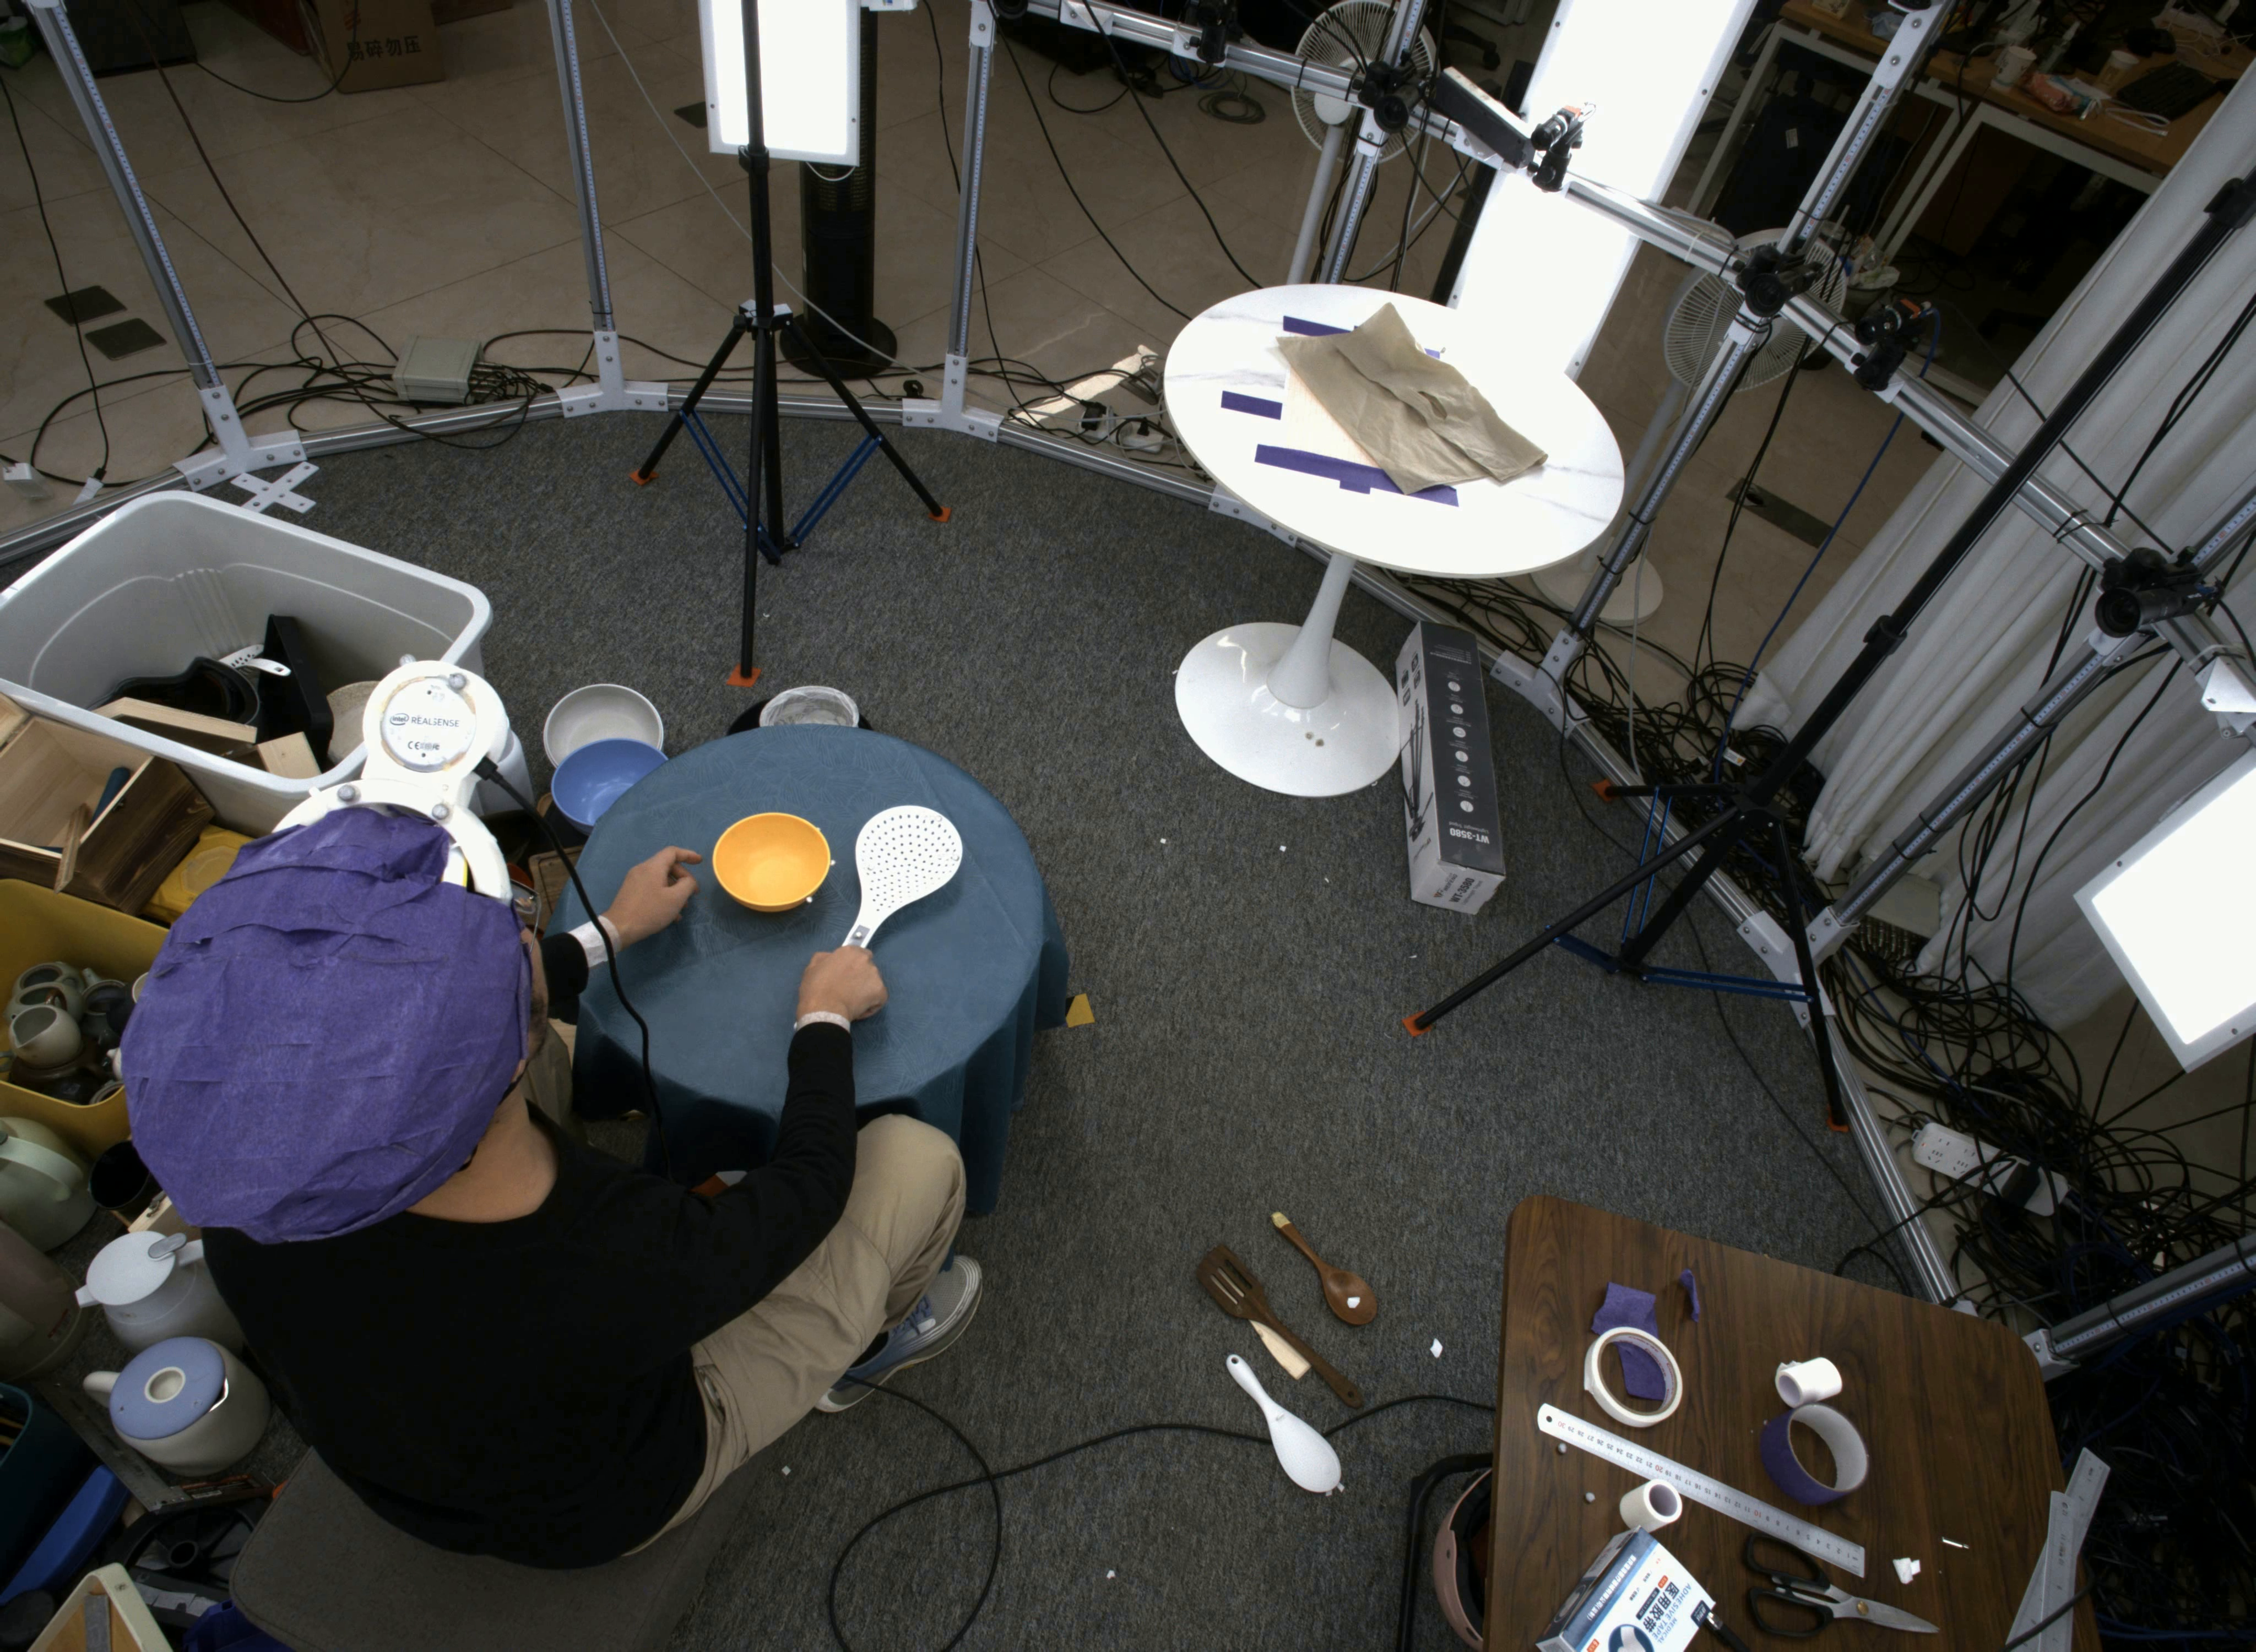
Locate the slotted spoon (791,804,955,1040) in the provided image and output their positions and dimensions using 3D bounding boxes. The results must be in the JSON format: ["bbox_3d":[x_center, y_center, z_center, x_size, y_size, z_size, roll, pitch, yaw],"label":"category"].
[{"bbox_3d":[-0.329,0.114,1.629,0.134,0.046,0.347,22,53,3],"label":"slotted spoon"}]

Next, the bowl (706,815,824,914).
[{"bbox_3d":[-0.455,0.058,1.630,0.145,0.061,0.142,7,51,-7],"label":"bowl"}]
